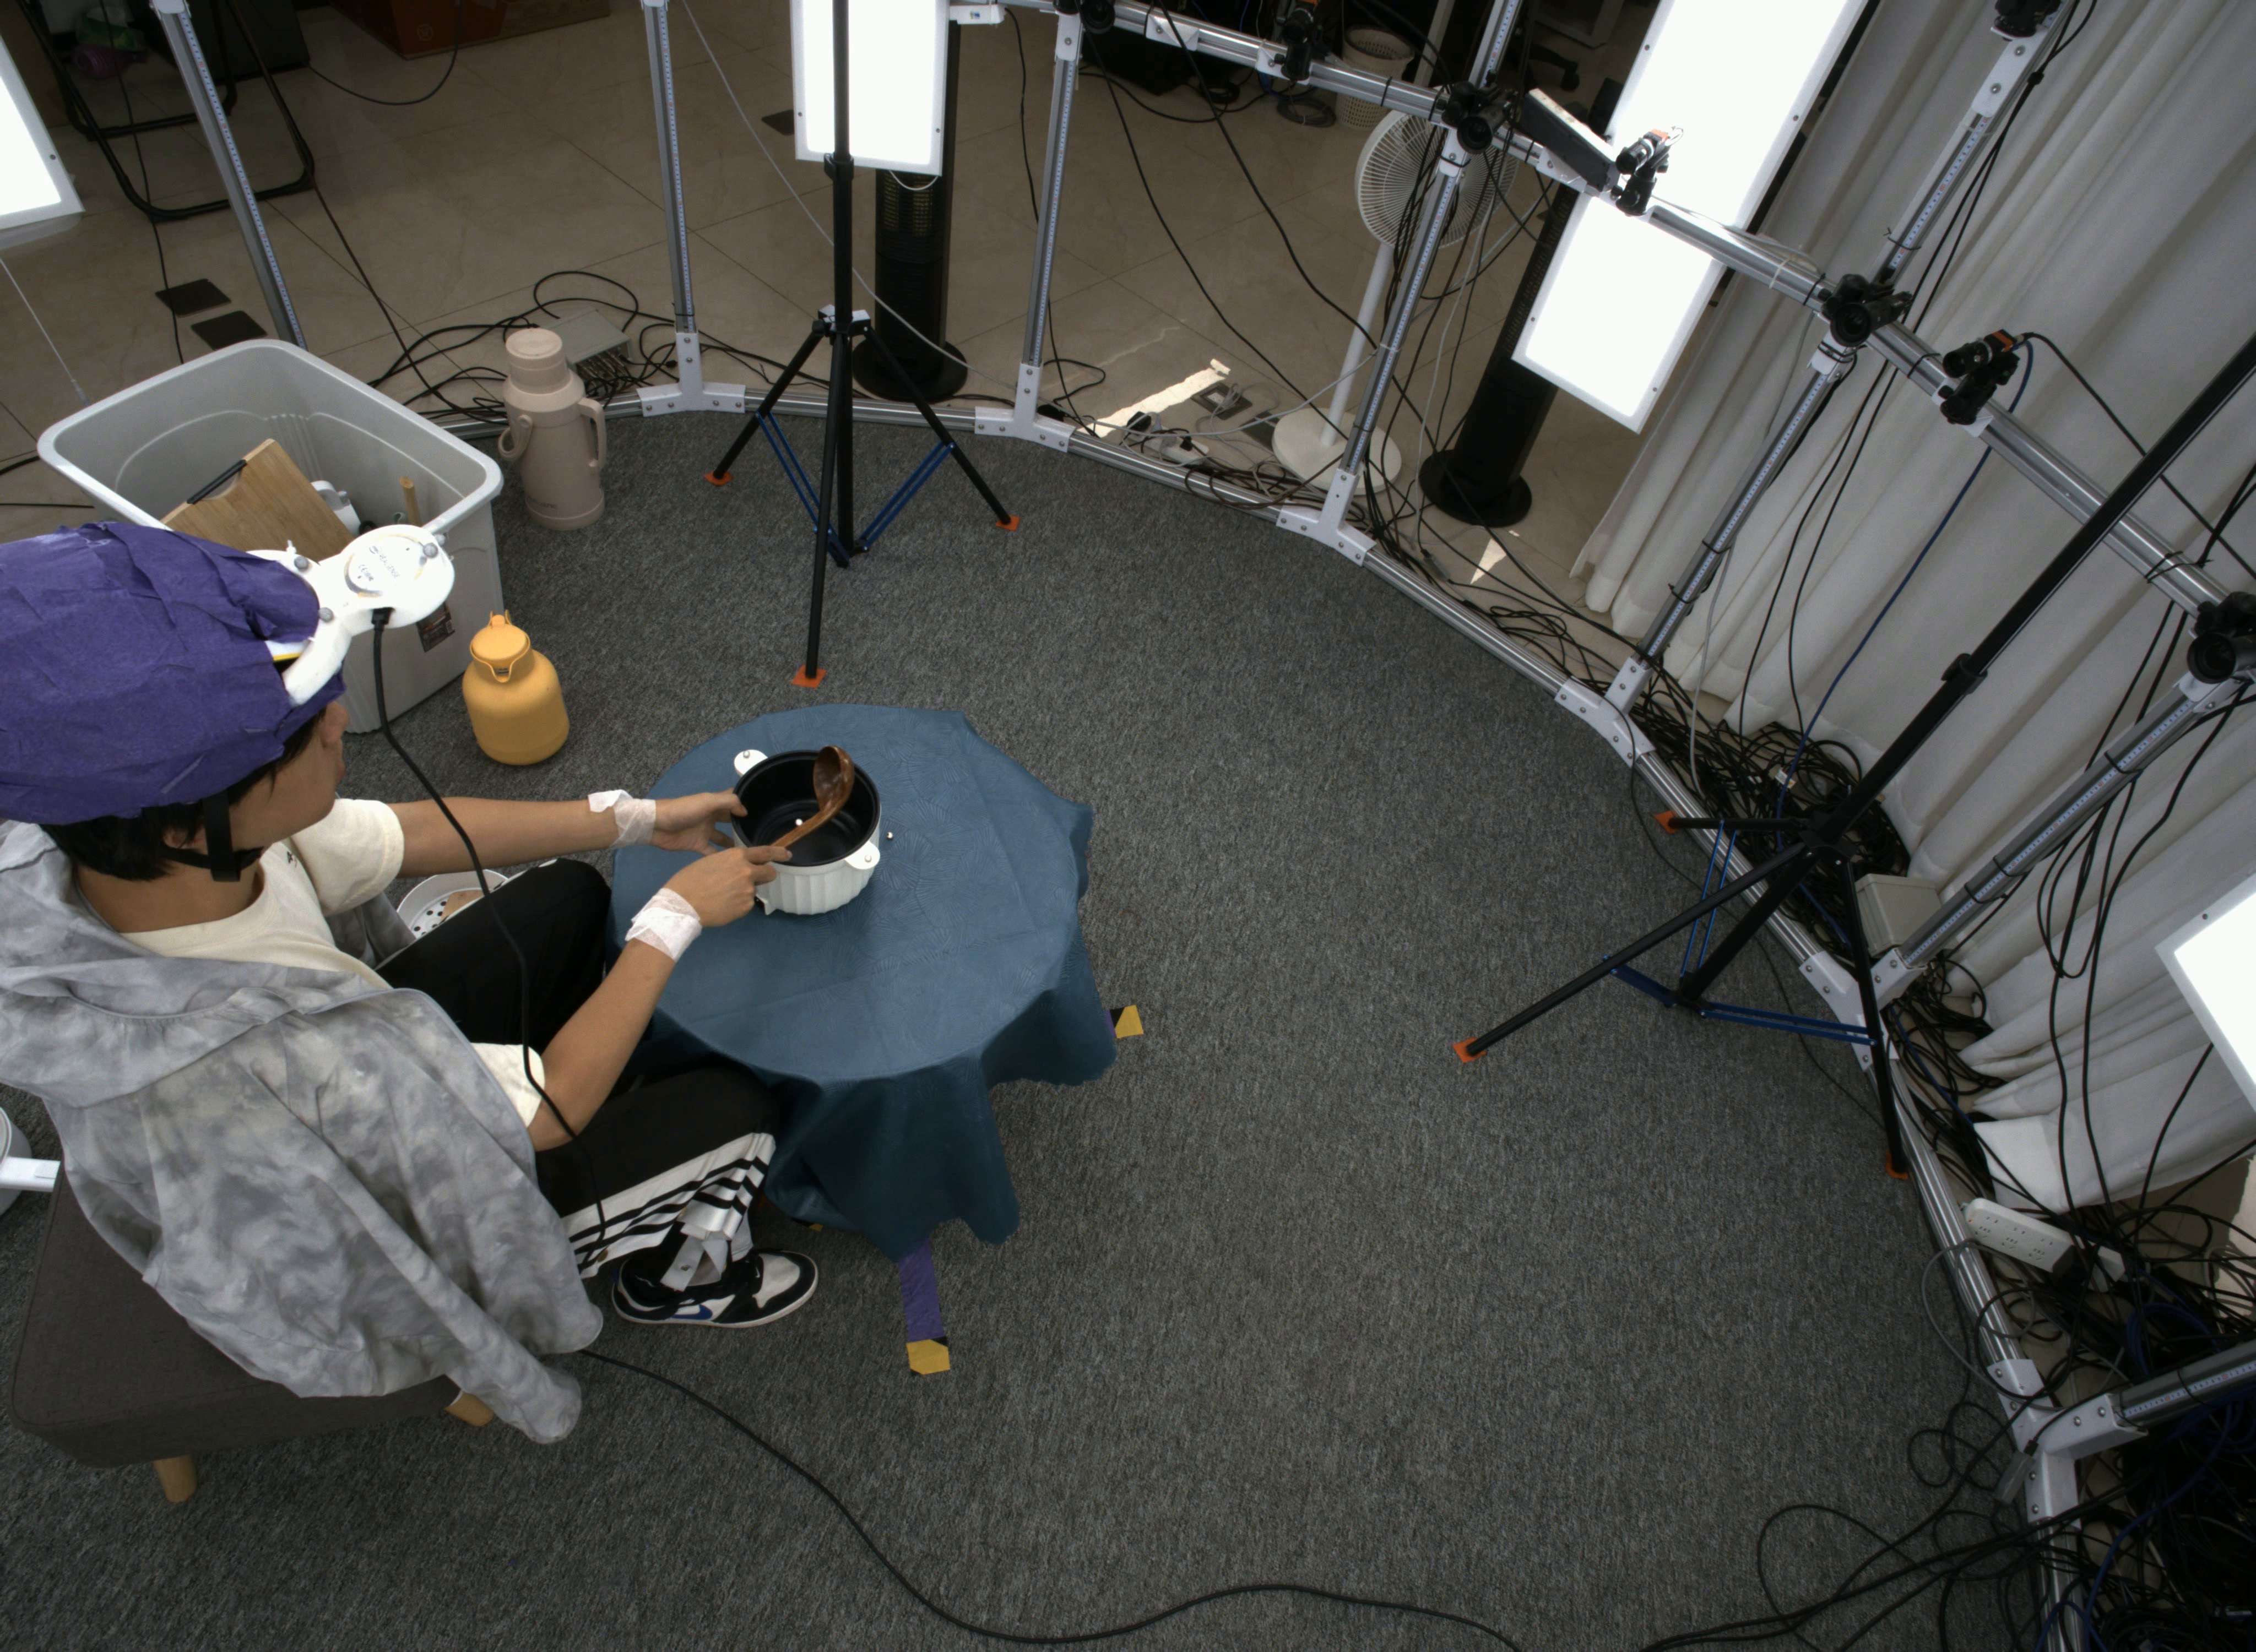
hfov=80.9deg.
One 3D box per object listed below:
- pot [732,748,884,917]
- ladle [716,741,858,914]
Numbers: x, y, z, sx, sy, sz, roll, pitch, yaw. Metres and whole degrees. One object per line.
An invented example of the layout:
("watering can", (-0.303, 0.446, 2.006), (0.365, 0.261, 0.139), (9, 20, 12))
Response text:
("pot", (-0.395, 0.011, 1.636), (0.236, 0.145, 0.190), (37, 58, 14))
("ladle", (-0.408, -0.007, 1.517), (0.076, 0.082, 0.273), (41, 46, 1))
